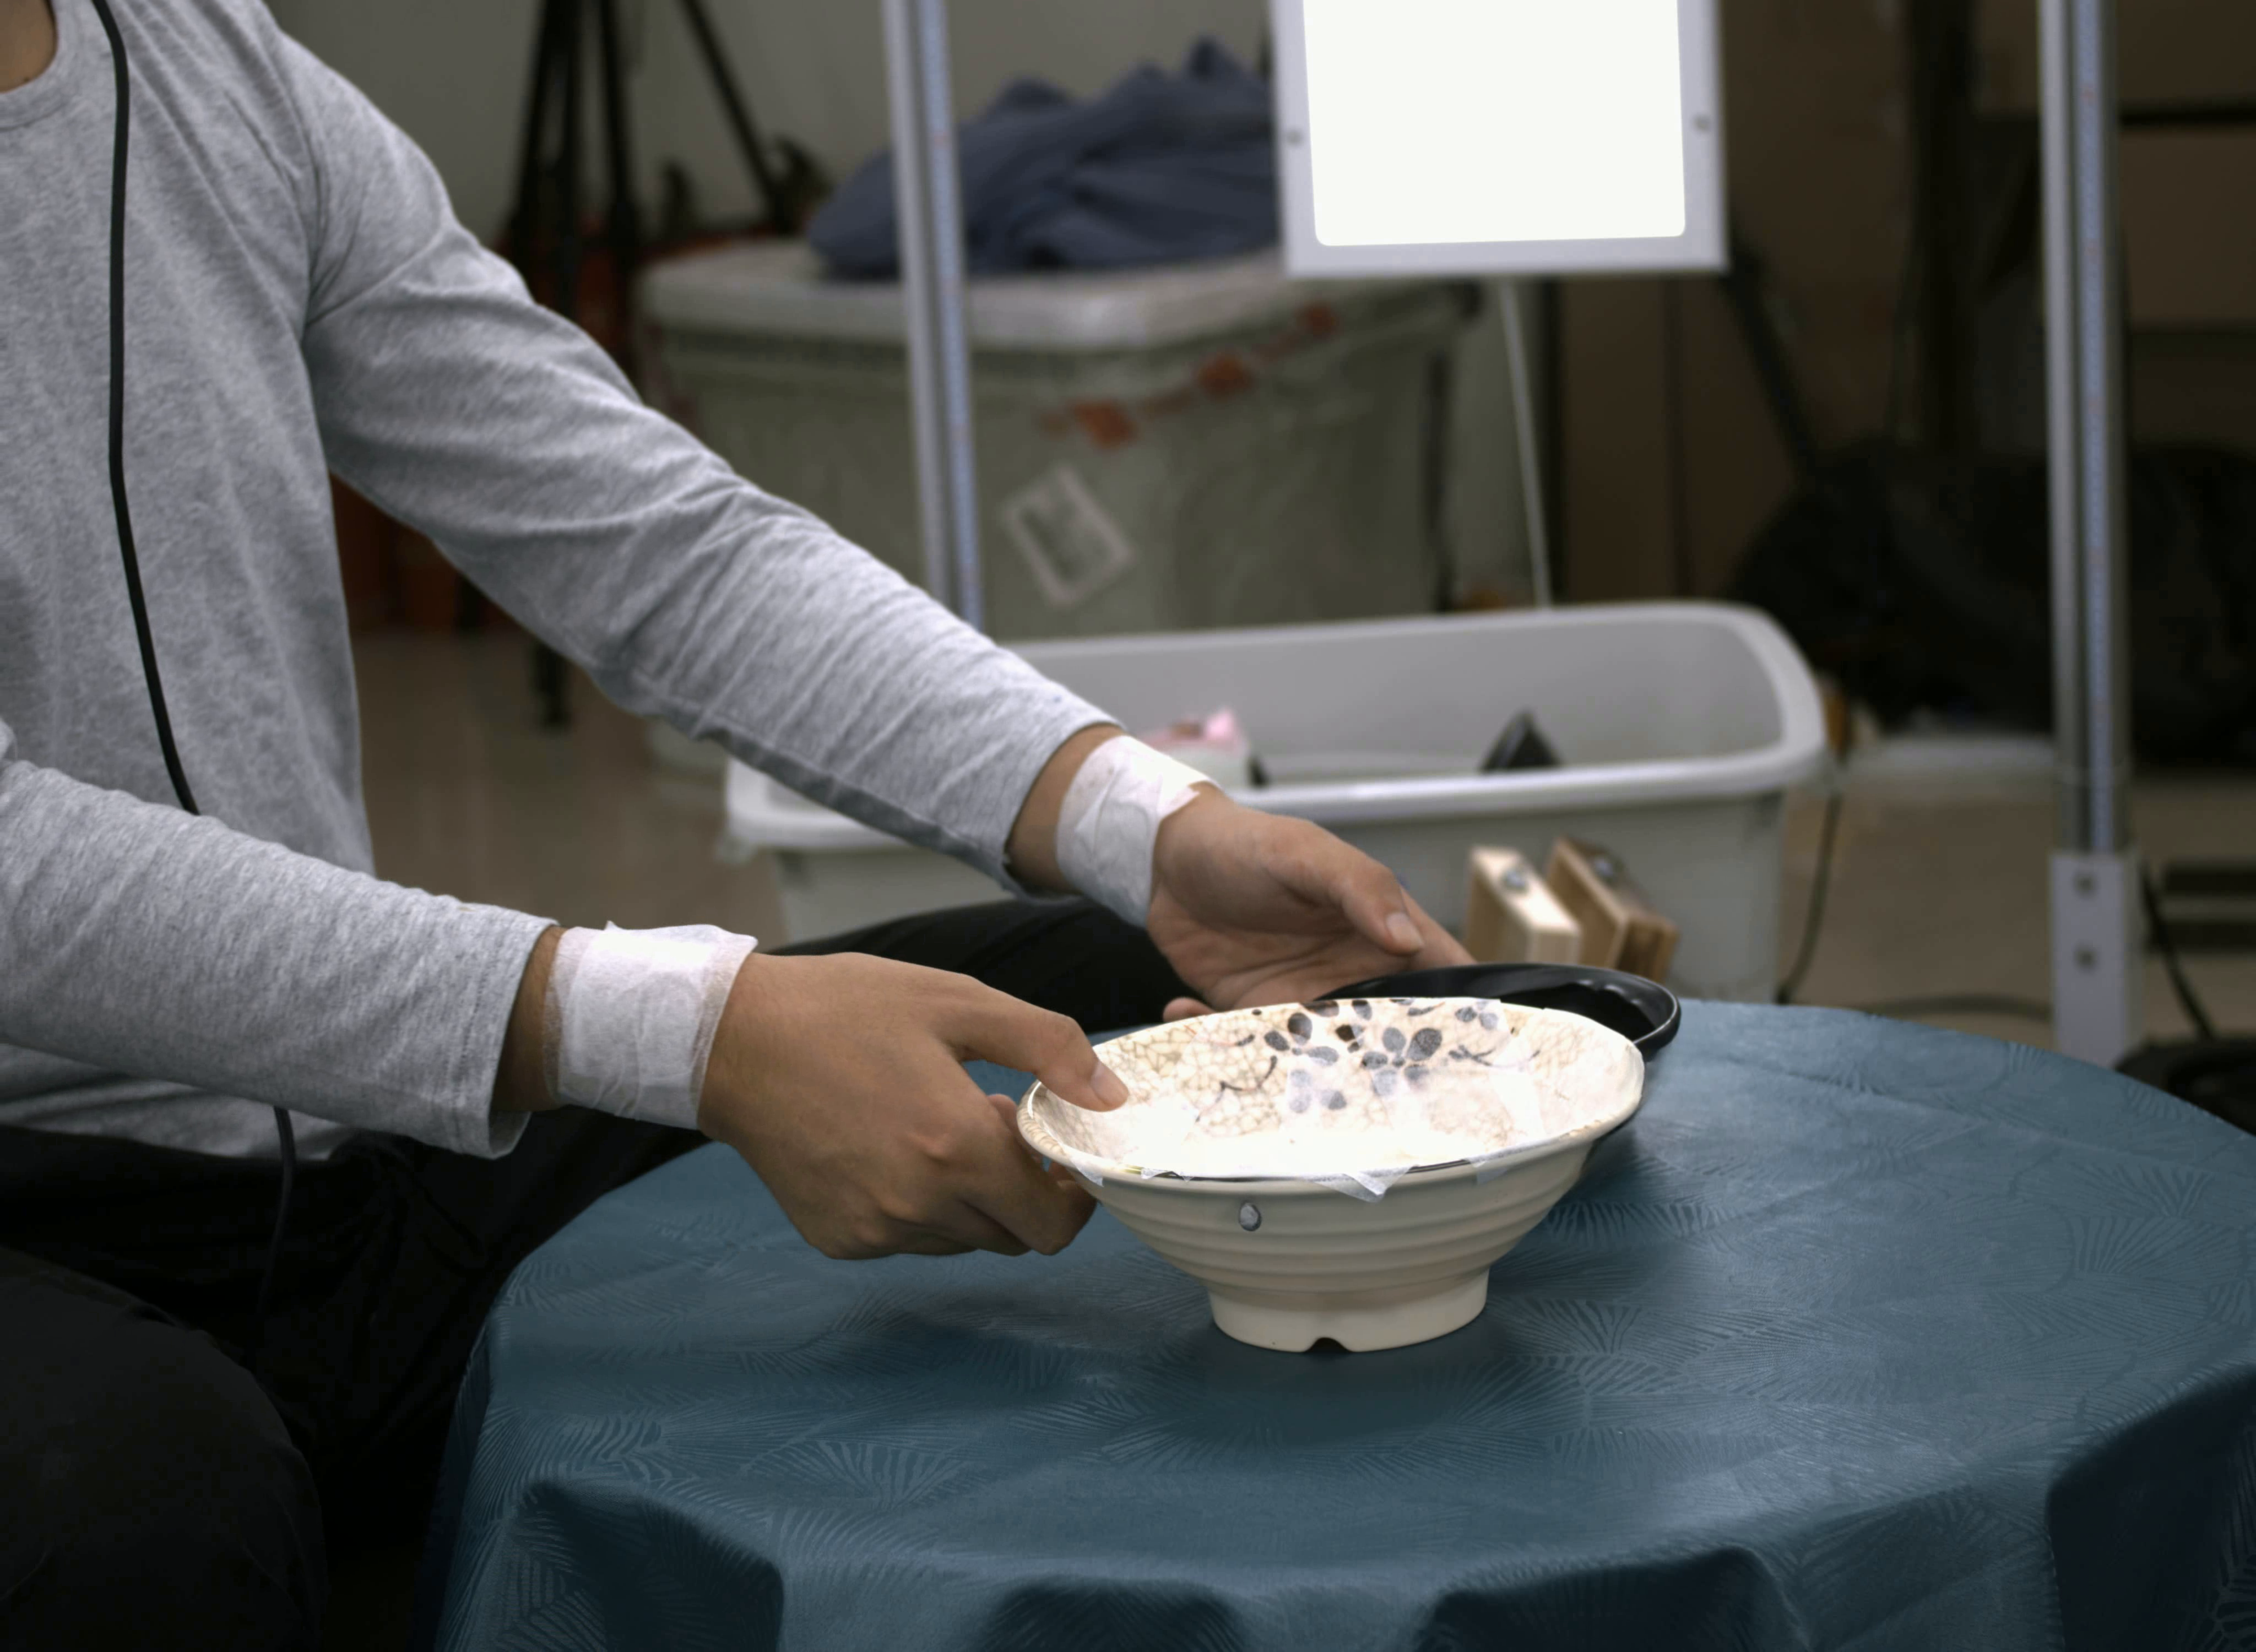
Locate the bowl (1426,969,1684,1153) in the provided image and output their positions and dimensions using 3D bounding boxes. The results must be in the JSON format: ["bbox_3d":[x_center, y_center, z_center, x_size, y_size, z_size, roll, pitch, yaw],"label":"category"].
[{"bbox_3d":[0.125,0.089,1.908,0.139,0.050,0.140,-5,11,0],"label":"bowl"}]

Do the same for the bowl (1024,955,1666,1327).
[{"bbox_3d":[0.066,0.107,1.740,0.203,0.078,0.204,3,16,-2],"label":"bowl"}]
